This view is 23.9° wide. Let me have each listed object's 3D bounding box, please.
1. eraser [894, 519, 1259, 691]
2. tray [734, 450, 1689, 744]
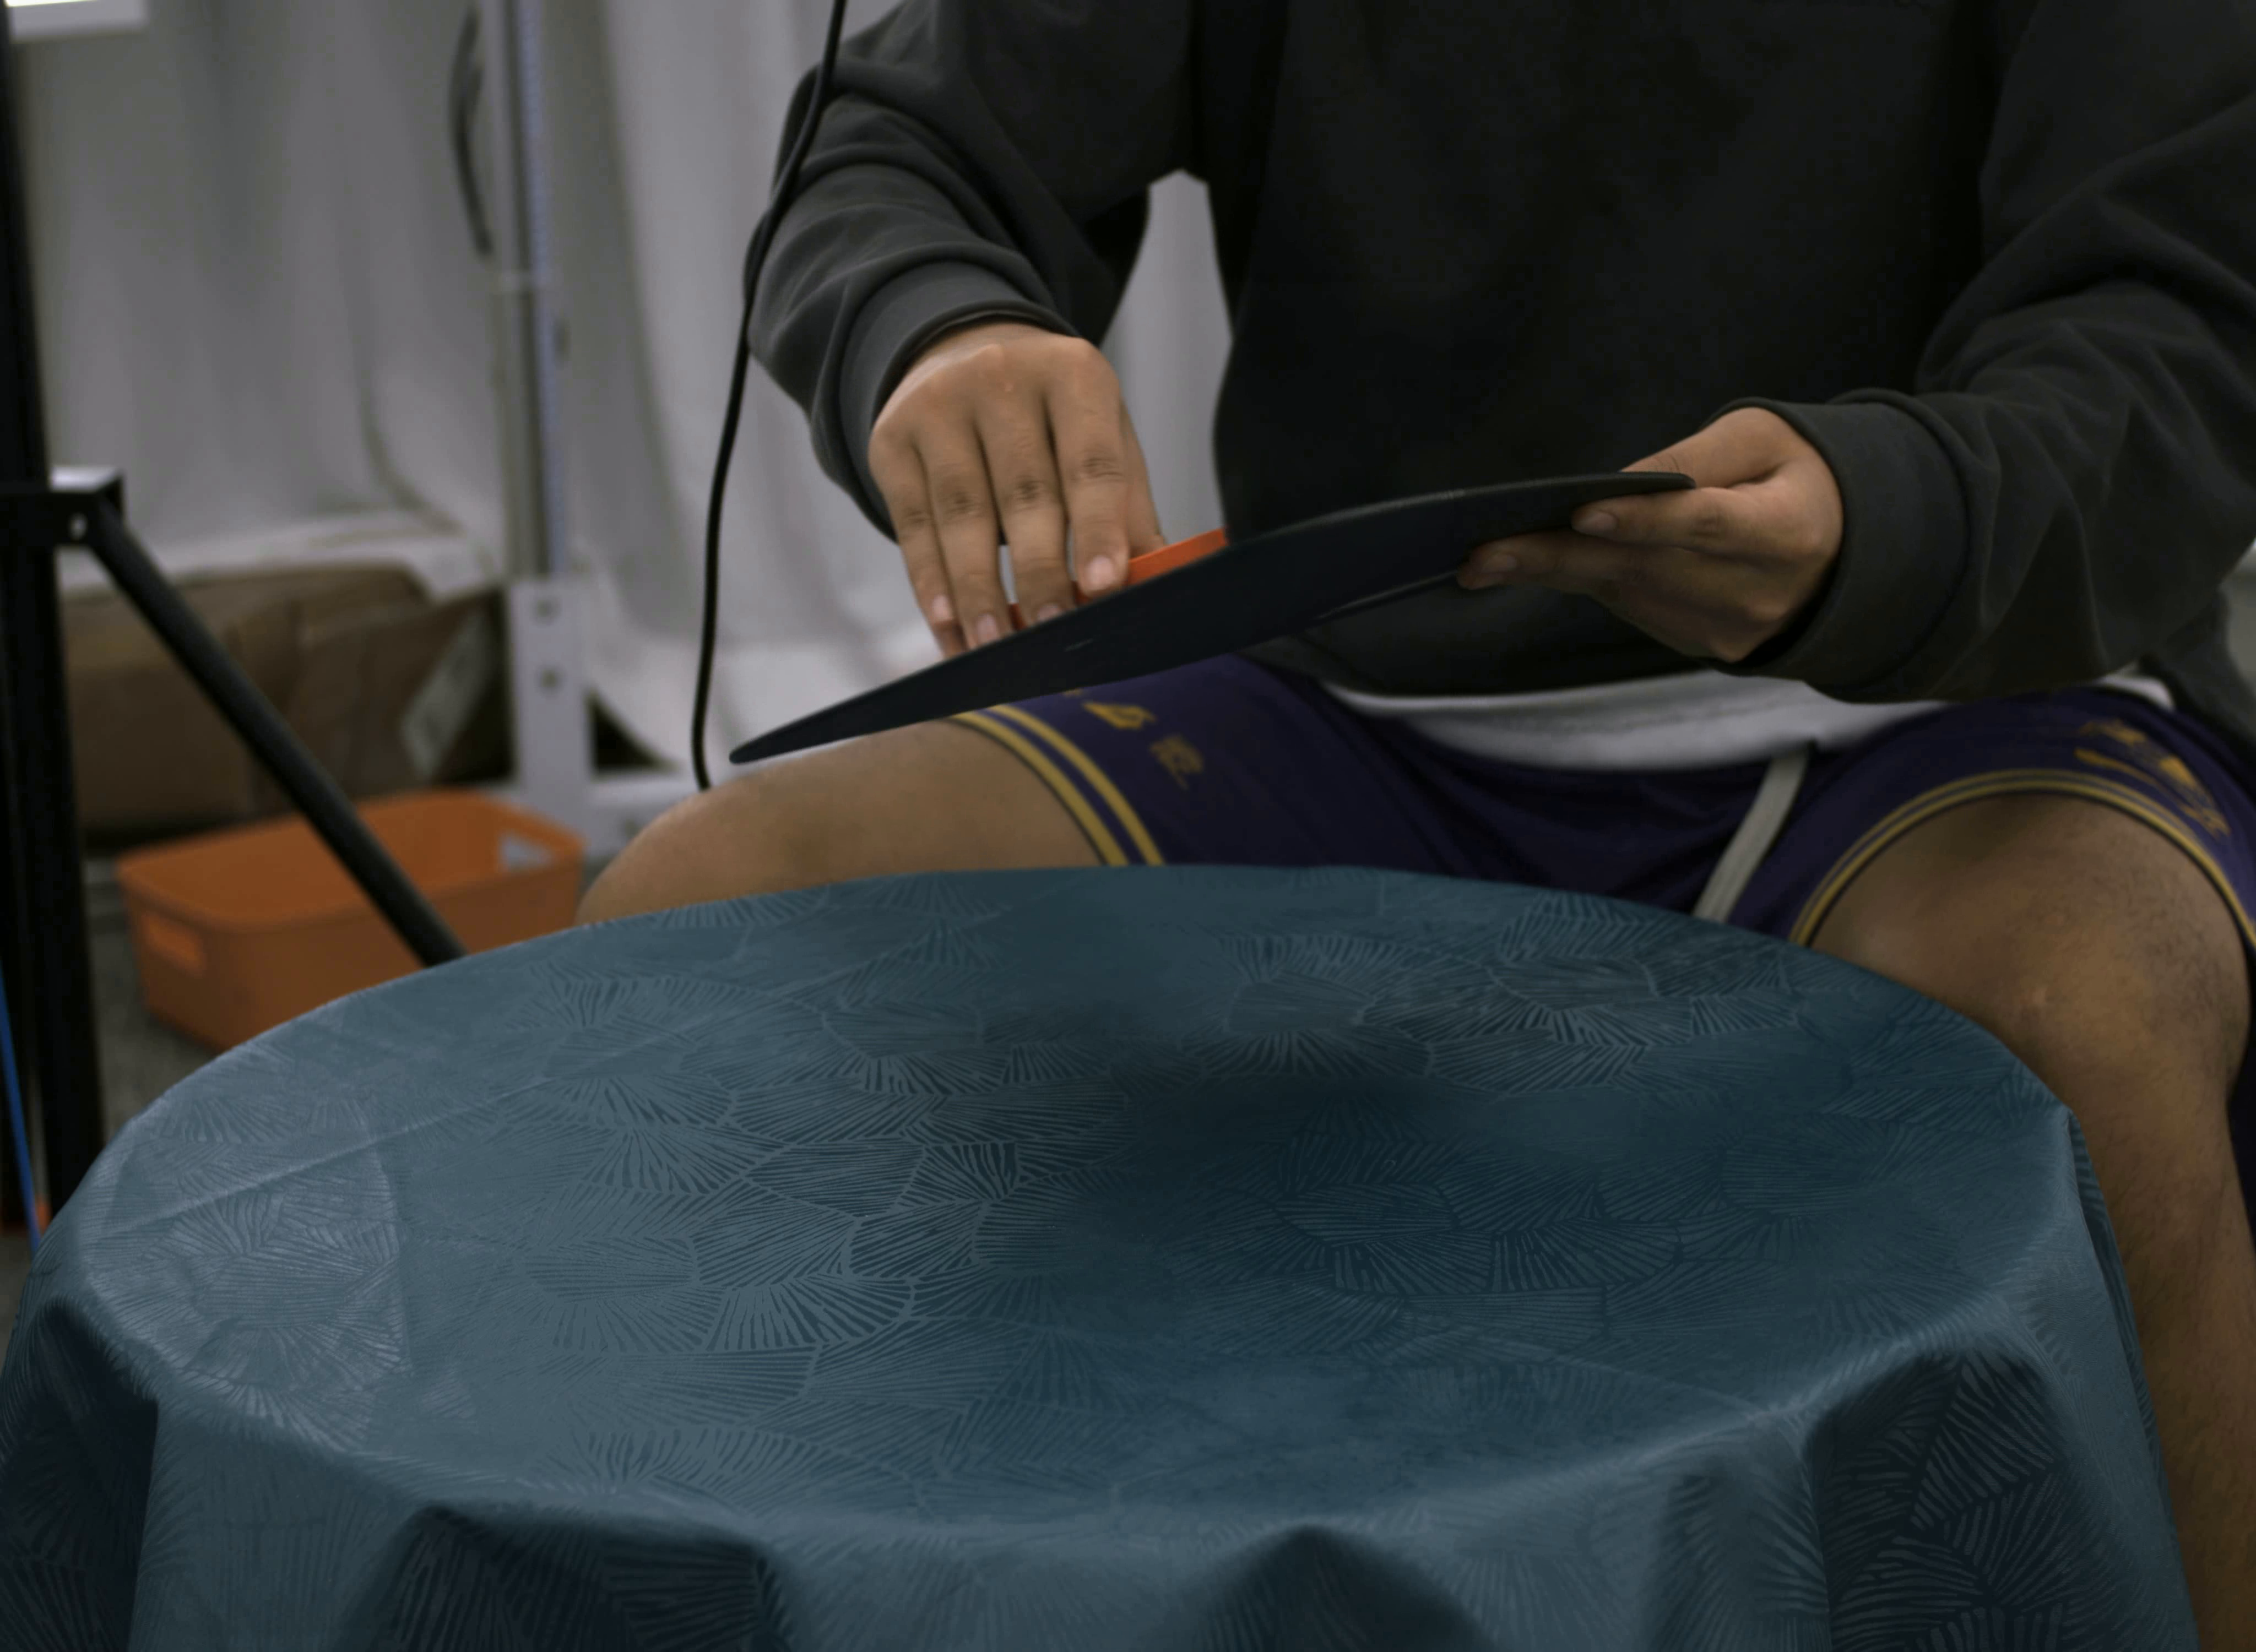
[{"bbox_3d":[-0.013,-0.066,1.617,0.109,0.023,0.058,-18,-1,24],"label":"eraser"},{"bbox_3d":[0.033,-0.069,1.565,0.214,0.010,0.319,-20,-3,30],"label":"tray"}]
